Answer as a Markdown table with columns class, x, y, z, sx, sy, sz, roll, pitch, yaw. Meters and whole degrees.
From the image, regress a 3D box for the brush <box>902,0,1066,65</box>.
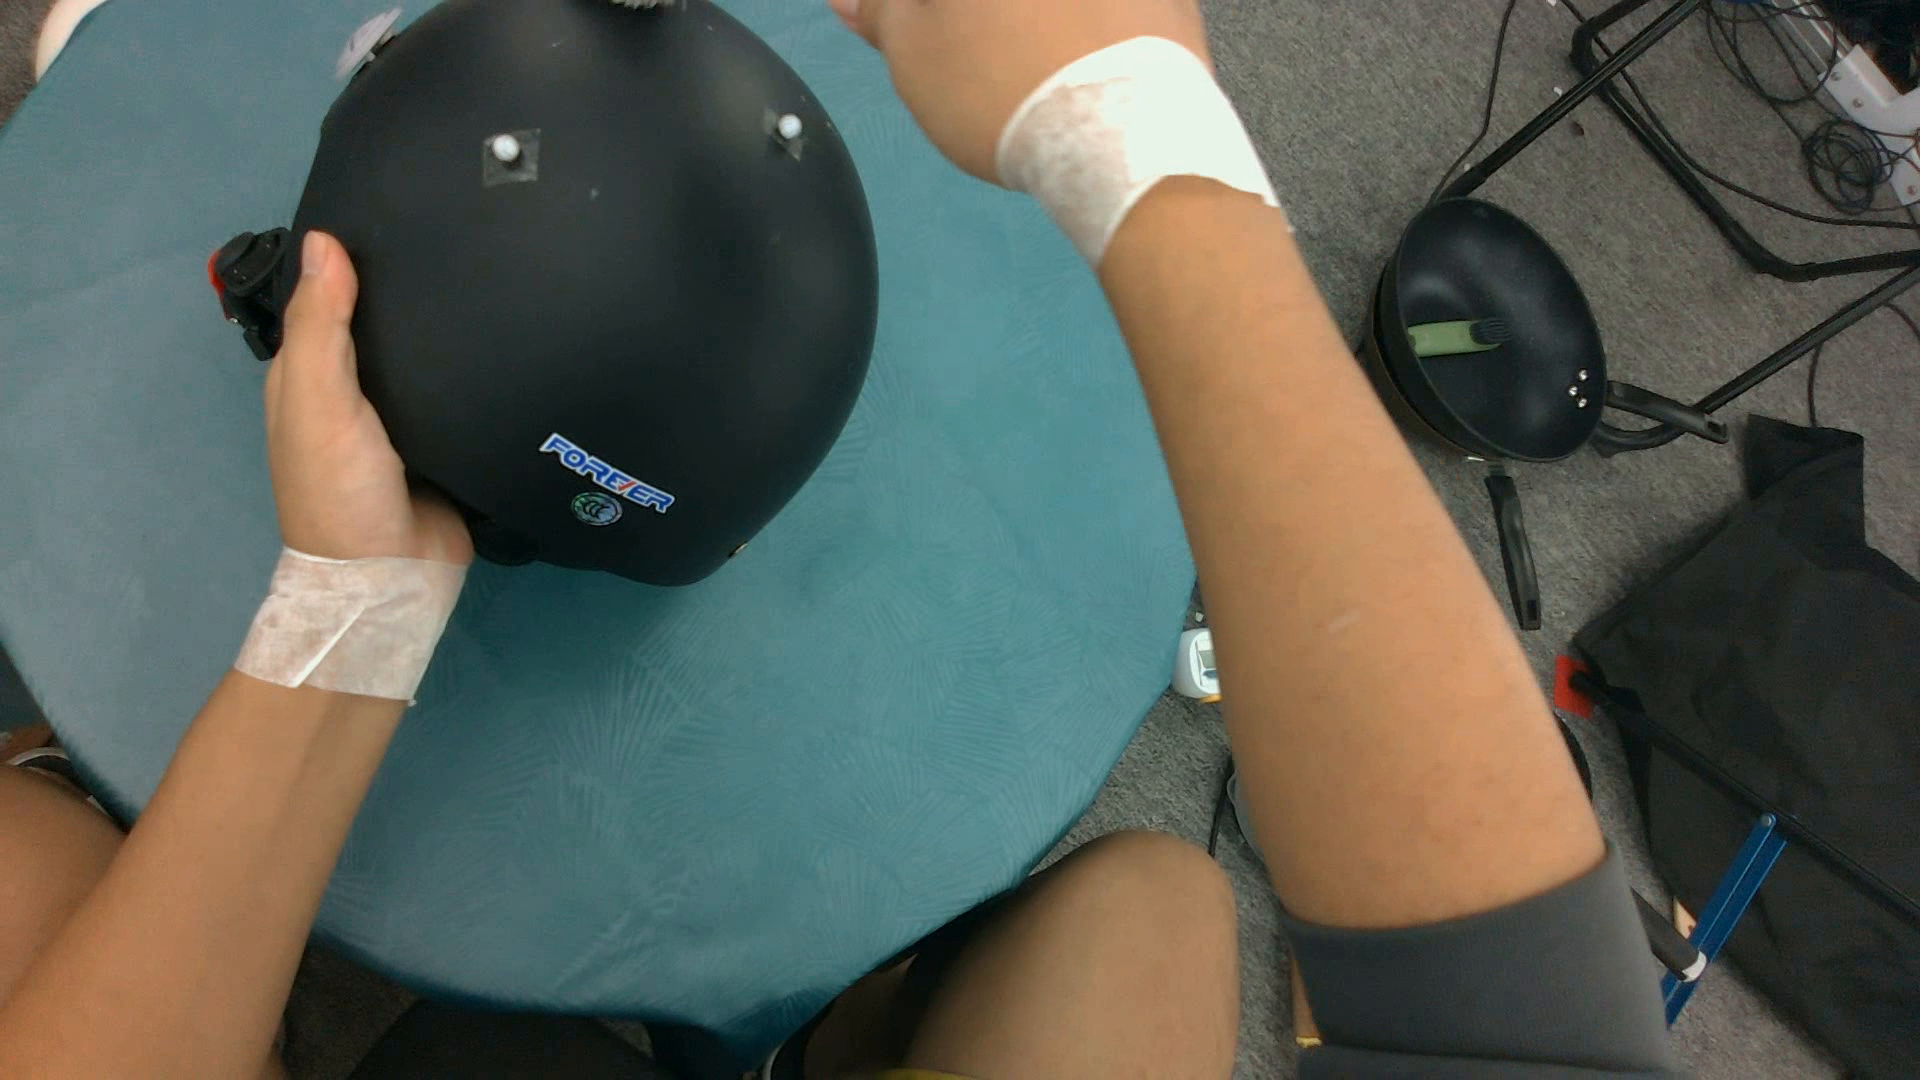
| class | x | y | z | sx | sy | sz | roll | pitch | yaw |
| --- | --- | --- | --- | --- | --- | --- | --- | --- | --- |
| brush | -0.067 | -0.186 | 0.454 | 0.244 | 0.050 | 0.034 | 35 | 39 | 25 |

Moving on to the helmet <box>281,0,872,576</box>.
| class | x | y | z | sx | sy | sz | roll | pitch | yaw |
| --- | --- | --- | --- | --- | --- | --- | --- | --- | --- |
| helmet | -0.129 | -0.129 | 0.554 | 0.230 | 0.166 | 0.274 | 36 | 37 | -36 |
